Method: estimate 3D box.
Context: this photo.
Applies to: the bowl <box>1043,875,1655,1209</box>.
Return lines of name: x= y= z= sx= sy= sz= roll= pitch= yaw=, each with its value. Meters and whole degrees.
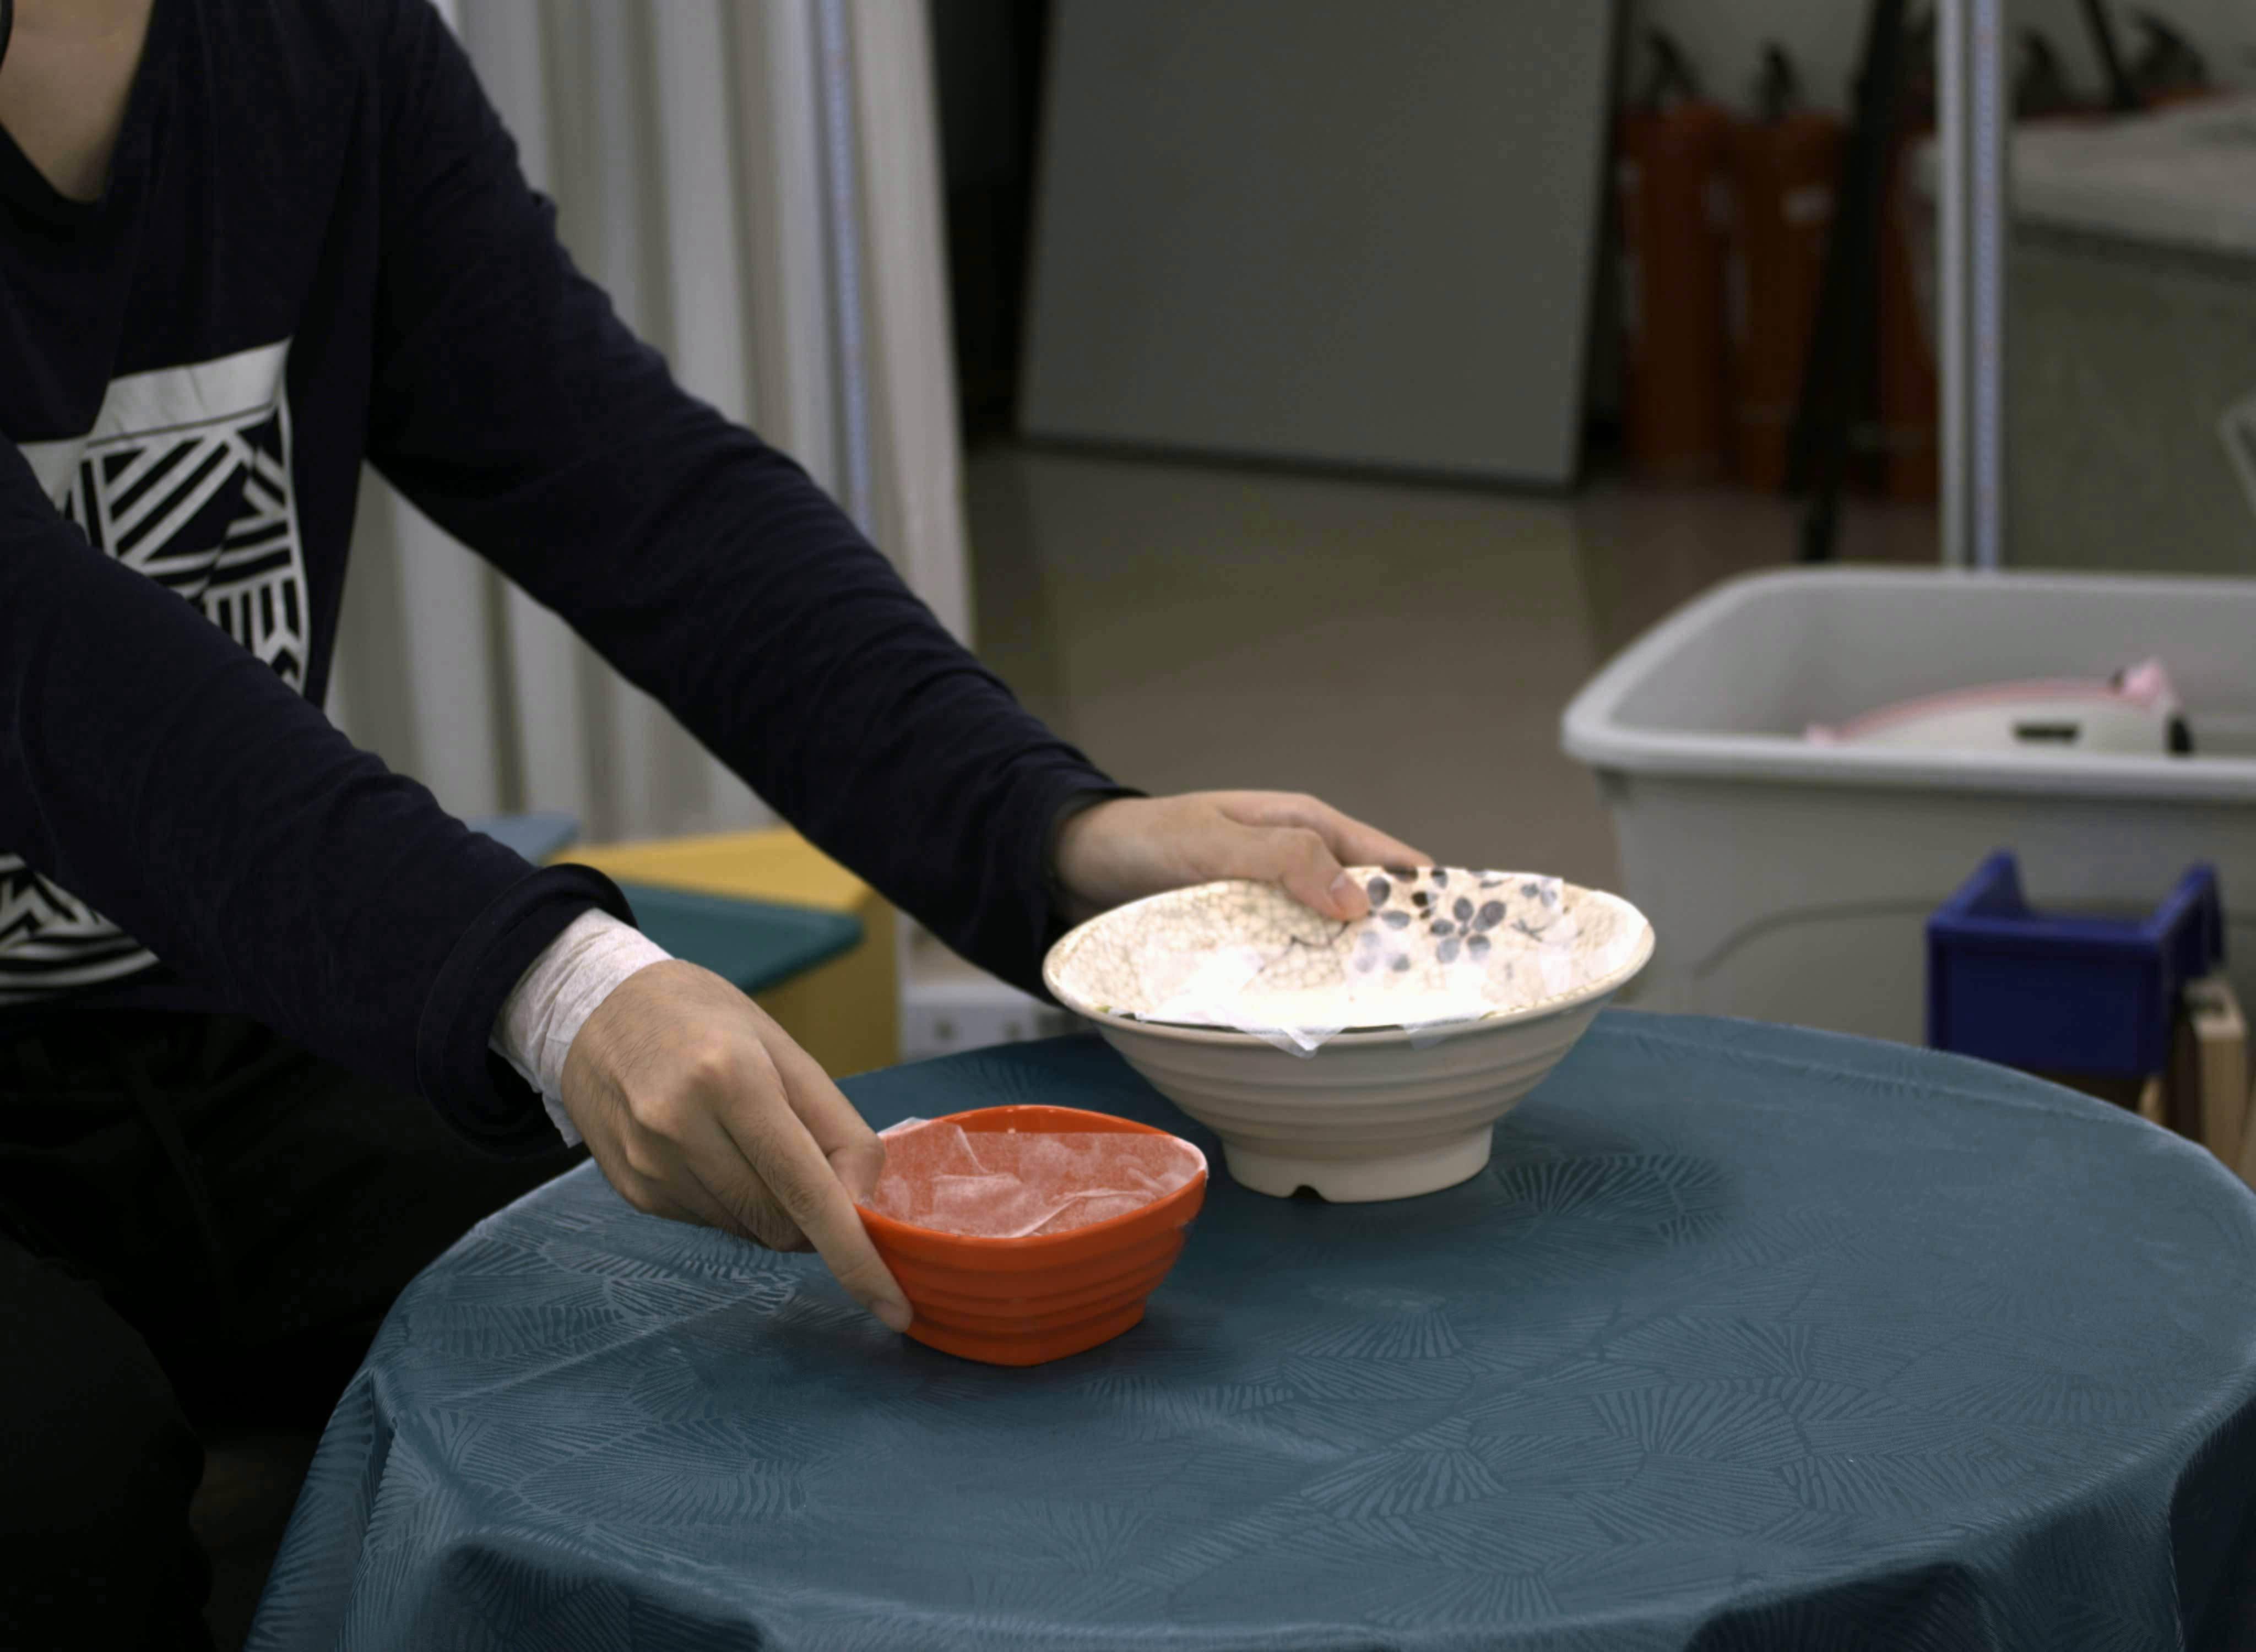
bowl: x=0.074 y=0.077 z=1.776 sx=0.201 sy=0.079 sz=0.204 roll=-4 pitch=13 yaw=0

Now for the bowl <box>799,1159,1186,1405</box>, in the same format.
bowl: x=-0.041 y=0.140 z=1.639 sx=0.117 sy=0.052 sz=0.119 roll=1 pitch=11 yaw=-1
